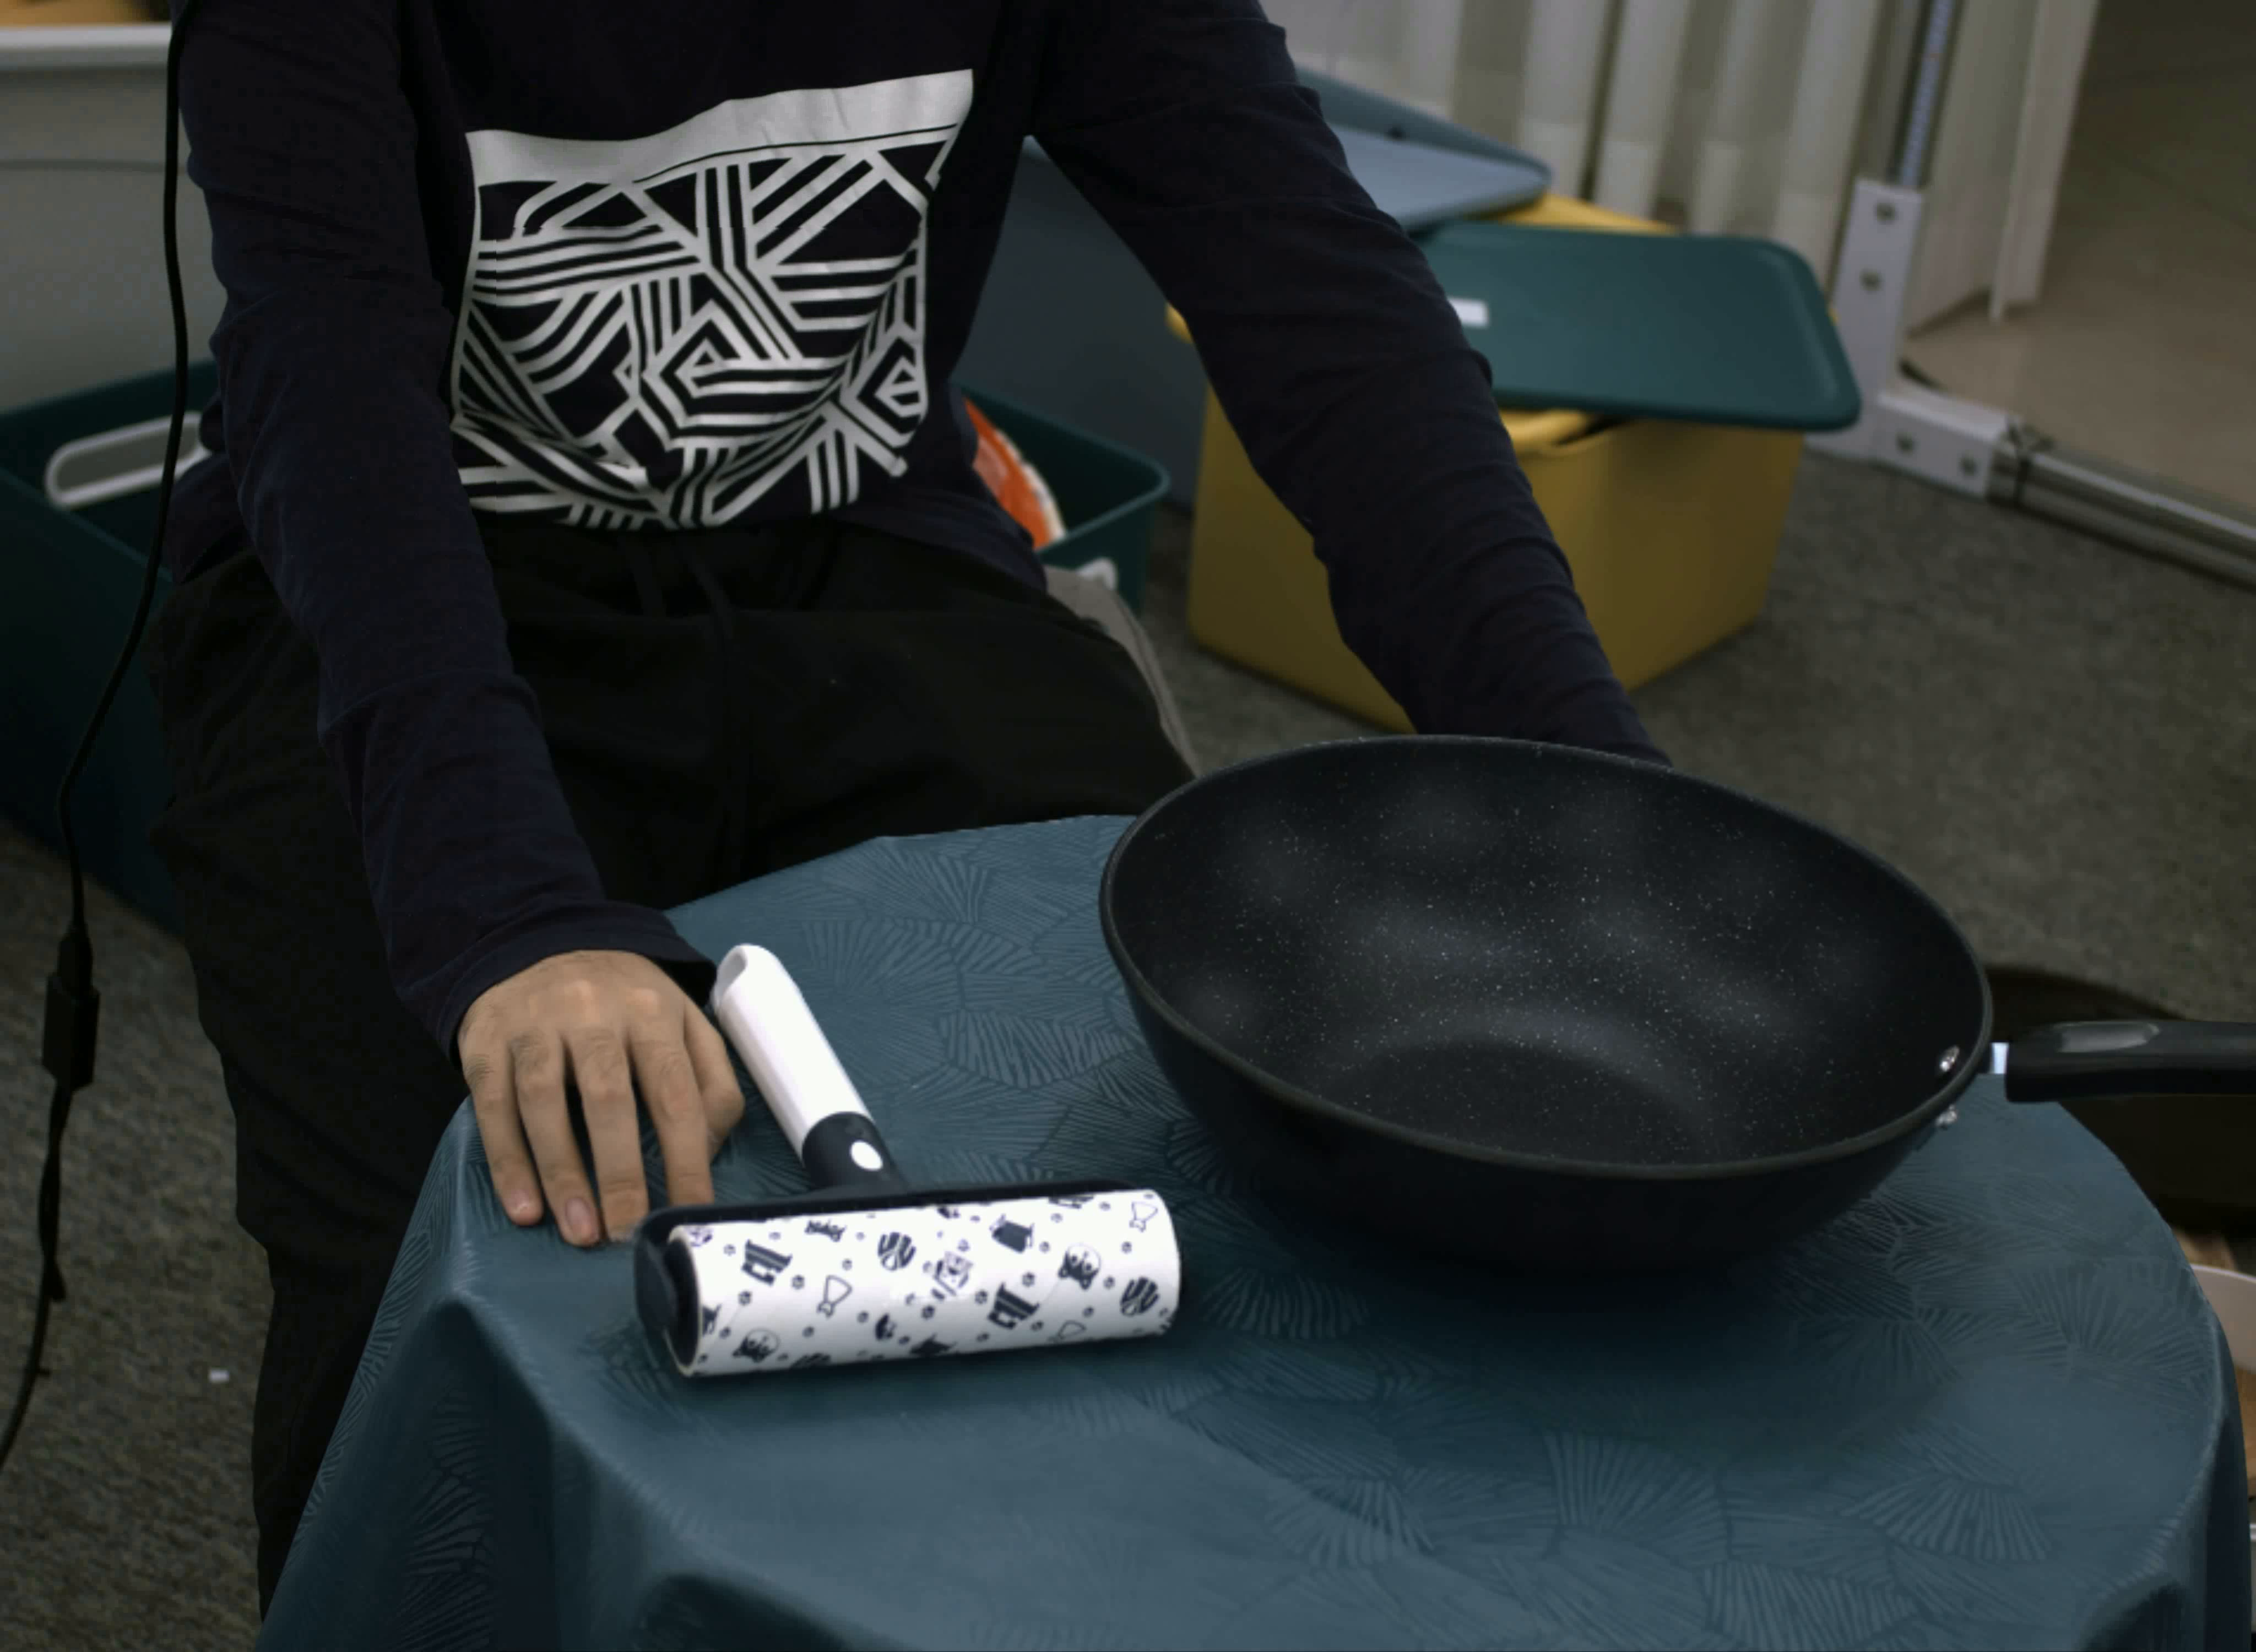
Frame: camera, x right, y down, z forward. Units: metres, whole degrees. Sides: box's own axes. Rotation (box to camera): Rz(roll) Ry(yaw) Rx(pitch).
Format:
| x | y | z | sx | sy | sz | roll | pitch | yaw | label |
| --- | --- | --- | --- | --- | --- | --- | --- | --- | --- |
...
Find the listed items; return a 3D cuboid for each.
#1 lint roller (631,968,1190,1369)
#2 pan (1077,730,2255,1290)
| x | y | z | sx | sy | sz | roll | pitch | yaw | label |
| --- | --- | --- | --- | --- | --- | --- | --- | --- | --- |
| -0.101 | 0.101 | 1.782 | 0.175 | 0.050 | 0.249 | -5 | 26 | -19 | lint roller |
| 0.214 | 0.080 | 1.820 | 0.477 | 0.111 | 0.311 | 11 | 28 | 9 | pan |
